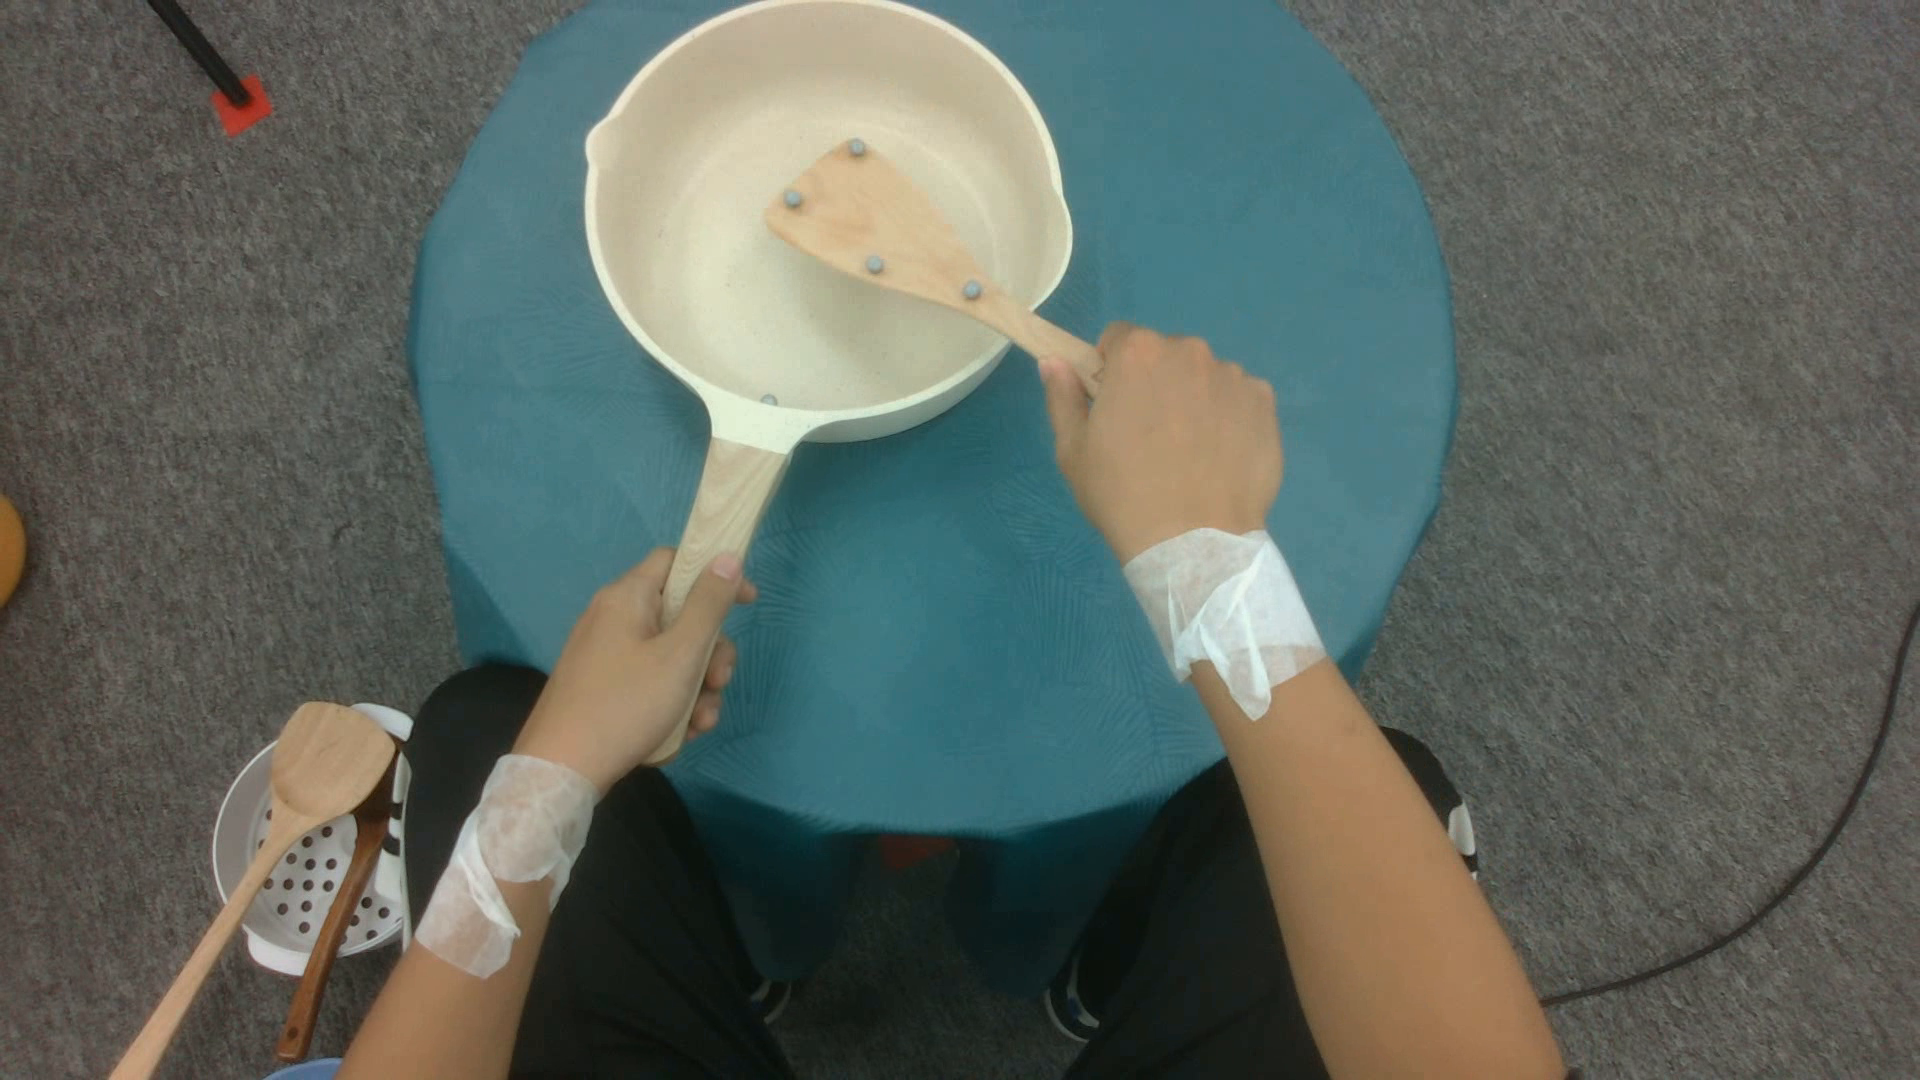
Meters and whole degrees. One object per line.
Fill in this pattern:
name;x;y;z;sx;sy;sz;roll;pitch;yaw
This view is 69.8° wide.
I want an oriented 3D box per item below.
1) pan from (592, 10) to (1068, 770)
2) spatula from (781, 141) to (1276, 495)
pan;-0.094;-0.085;0.746;0.263;0.101;0.436;14;73;1
spatula;0.027;-0.114;0.682;0.080;0.016;0.328;-36;54;-20
